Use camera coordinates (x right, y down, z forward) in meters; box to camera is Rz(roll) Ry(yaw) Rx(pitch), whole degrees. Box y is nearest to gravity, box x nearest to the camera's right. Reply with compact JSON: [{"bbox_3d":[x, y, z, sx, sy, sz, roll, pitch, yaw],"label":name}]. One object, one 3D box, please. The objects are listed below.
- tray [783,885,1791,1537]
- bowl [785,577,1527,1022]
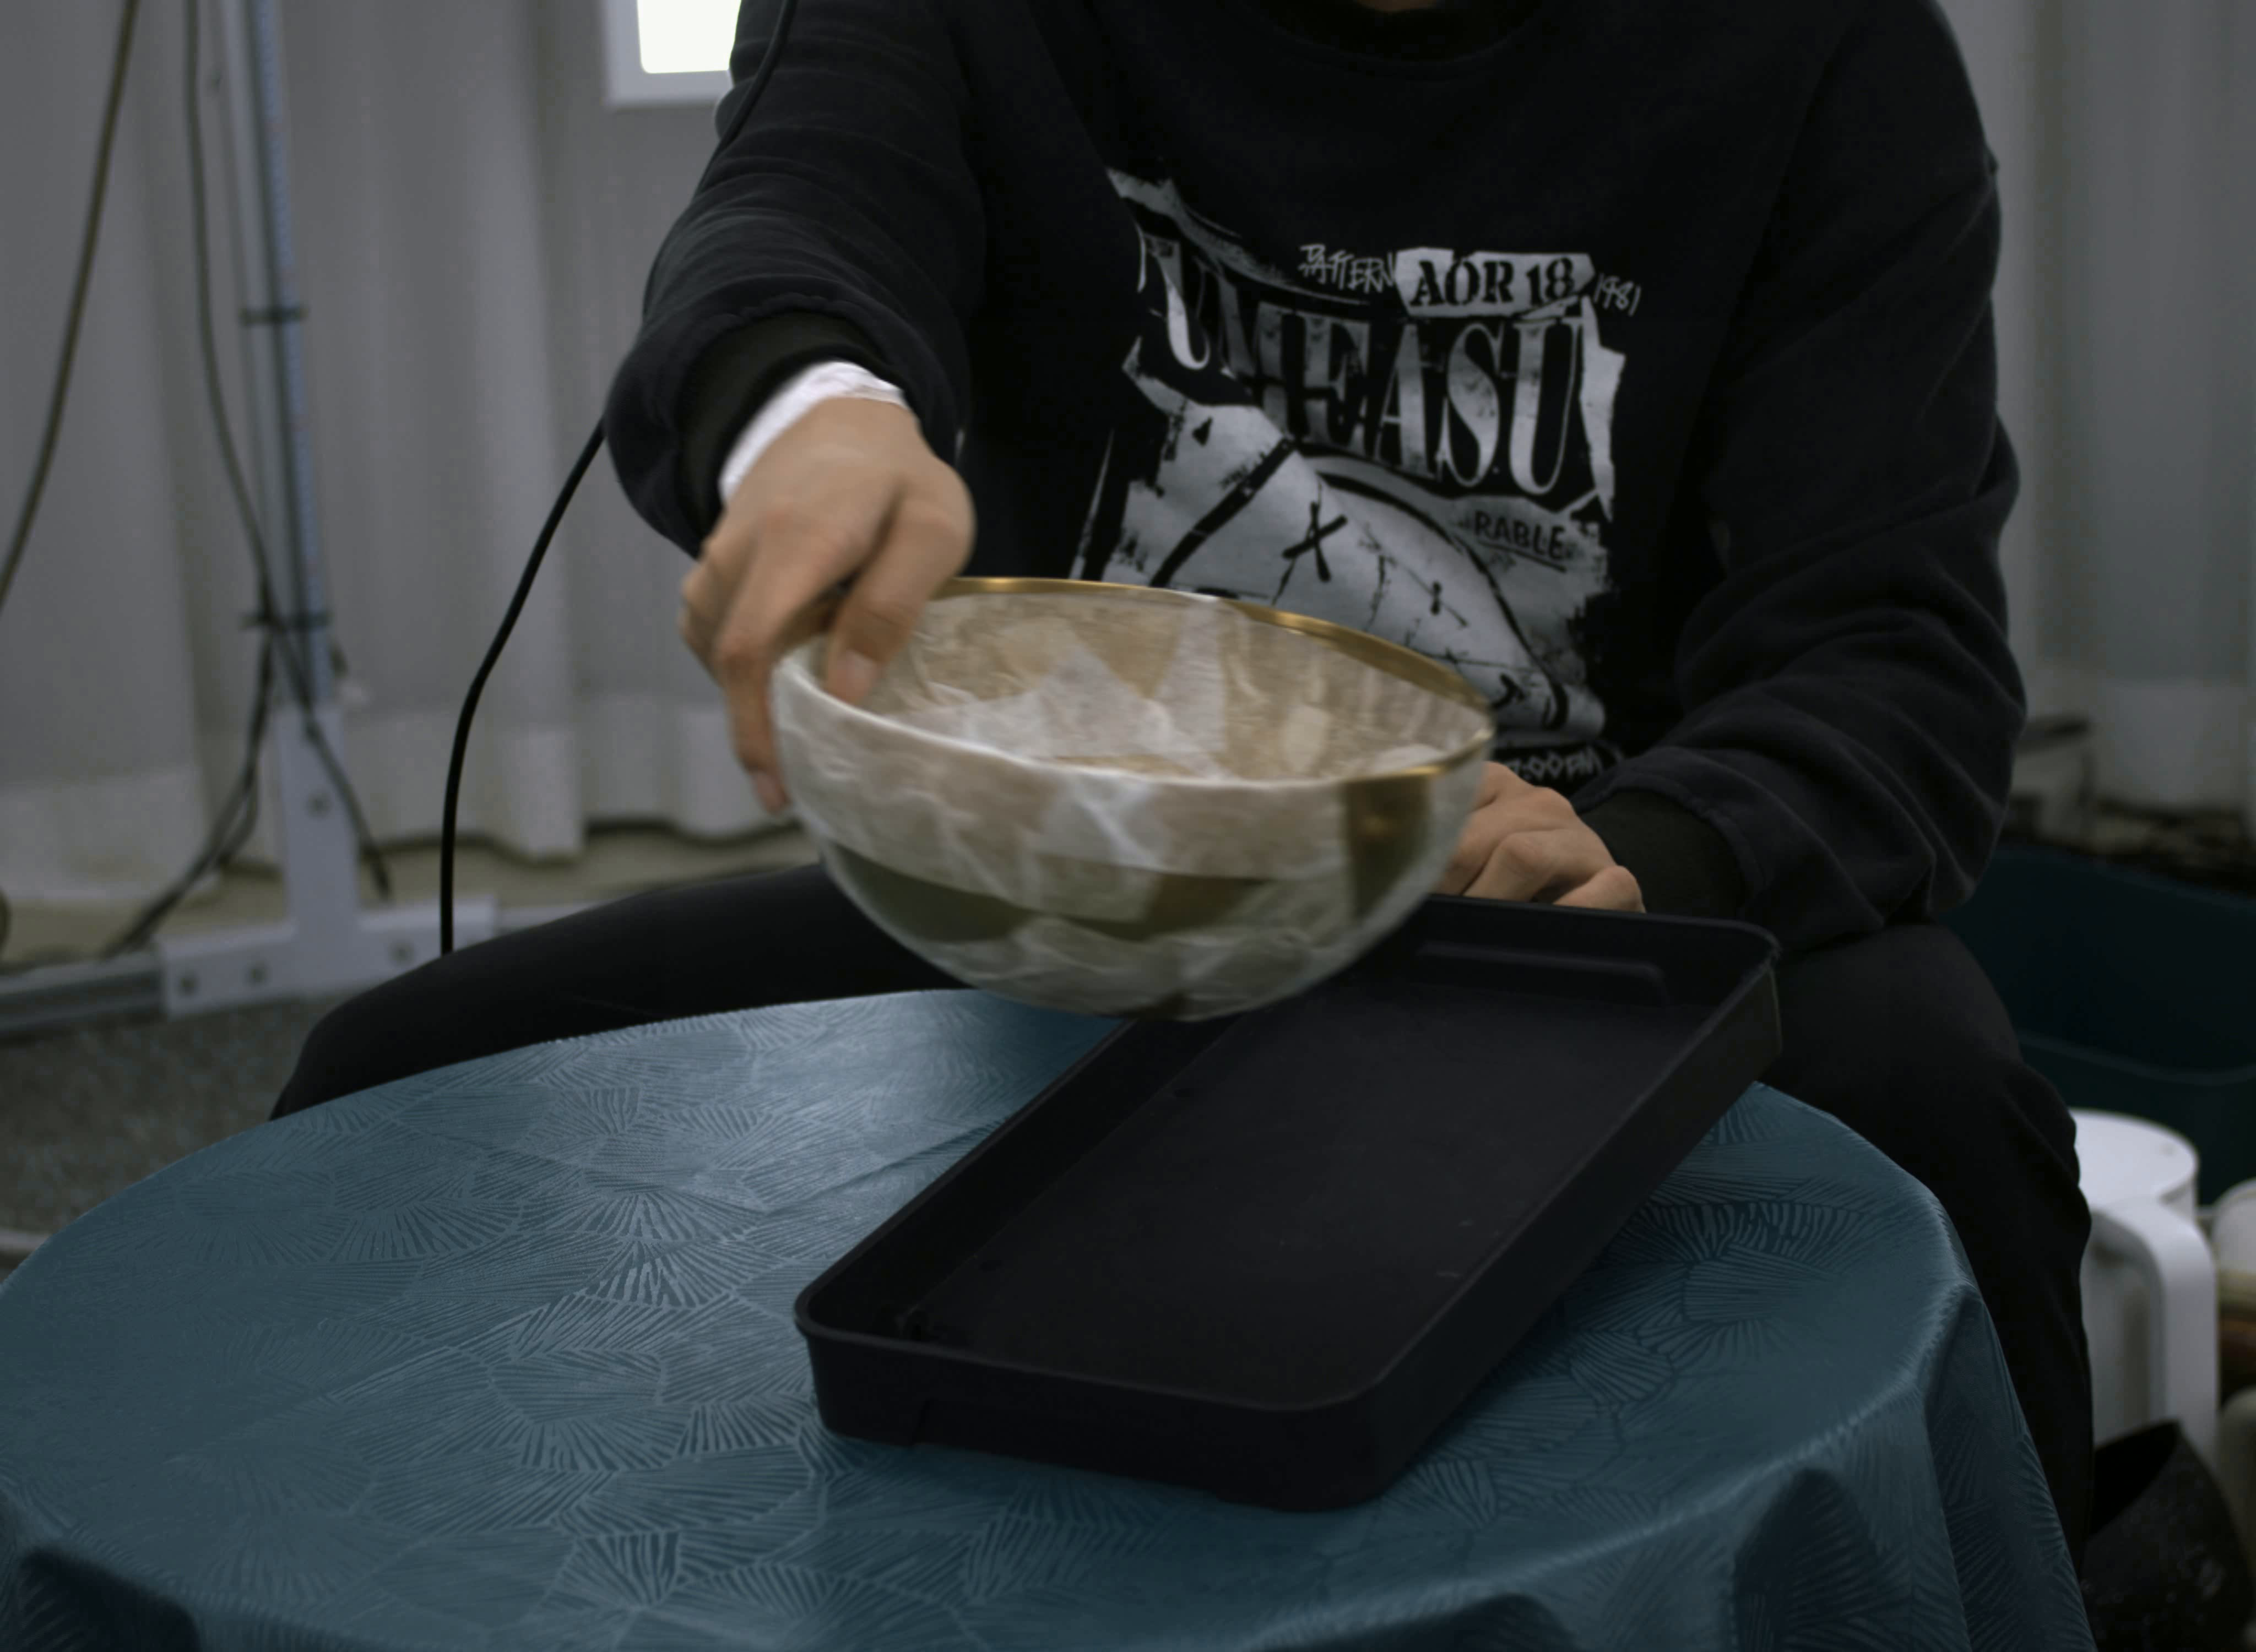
[{"bbox_3d":[0.055,0.102,1.604,0.185,0.037,0.319,7,28,30],"label":"tray"},{"bbox_3d":[0.004,0.000,1.520,0.214,0.094,0.216,5,16,-2],"label":"bowl"}]
